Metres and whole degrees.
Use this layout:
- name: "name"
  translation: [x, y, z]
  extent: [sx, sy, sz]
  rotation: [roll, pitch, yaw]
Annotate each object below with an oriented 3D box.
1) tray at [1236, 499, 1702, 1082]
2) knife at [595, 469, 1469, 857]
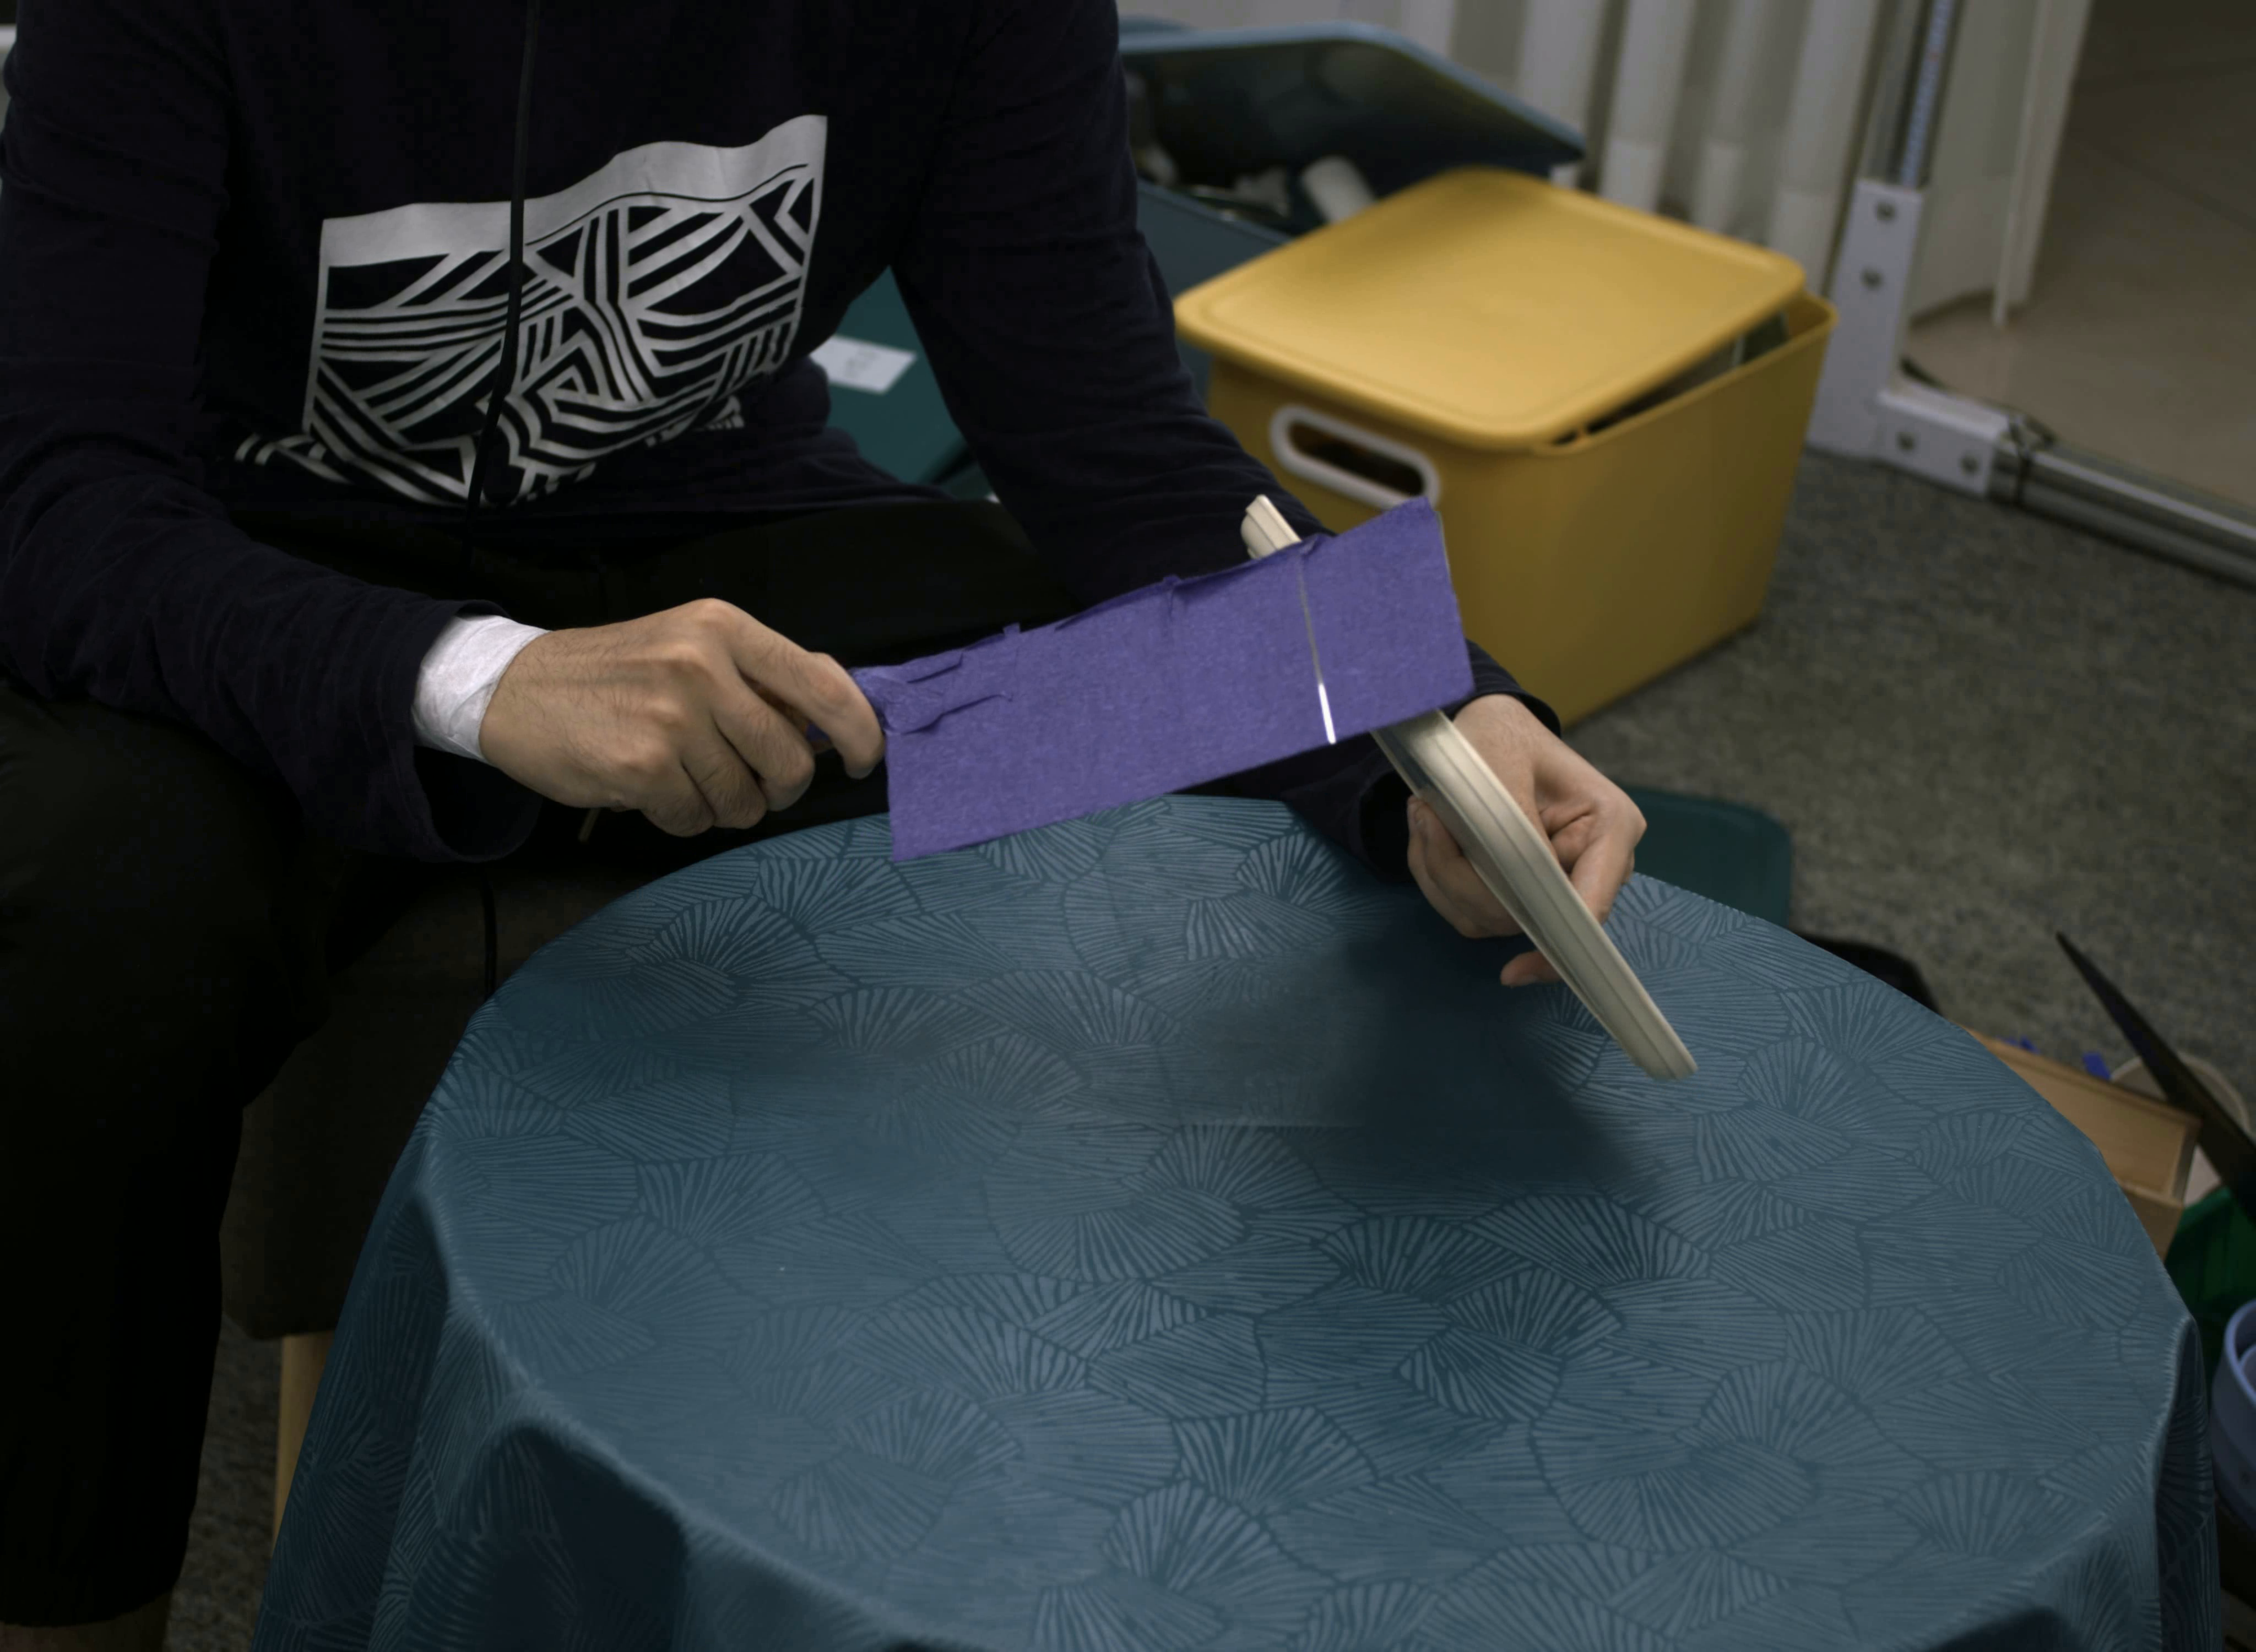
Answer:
- name: "tray"
  translation: [0.115, -0.012, 1.871]
  extent: [0.017, 0.170, 0.242]
  rotation: [-37, 36, 1]
- name: "knife"
  translation: [-0.036, -0.039, 1.821]
  extent: [0.315, 0.032, 0.105]
  rotation: [-19, 46, 14]
